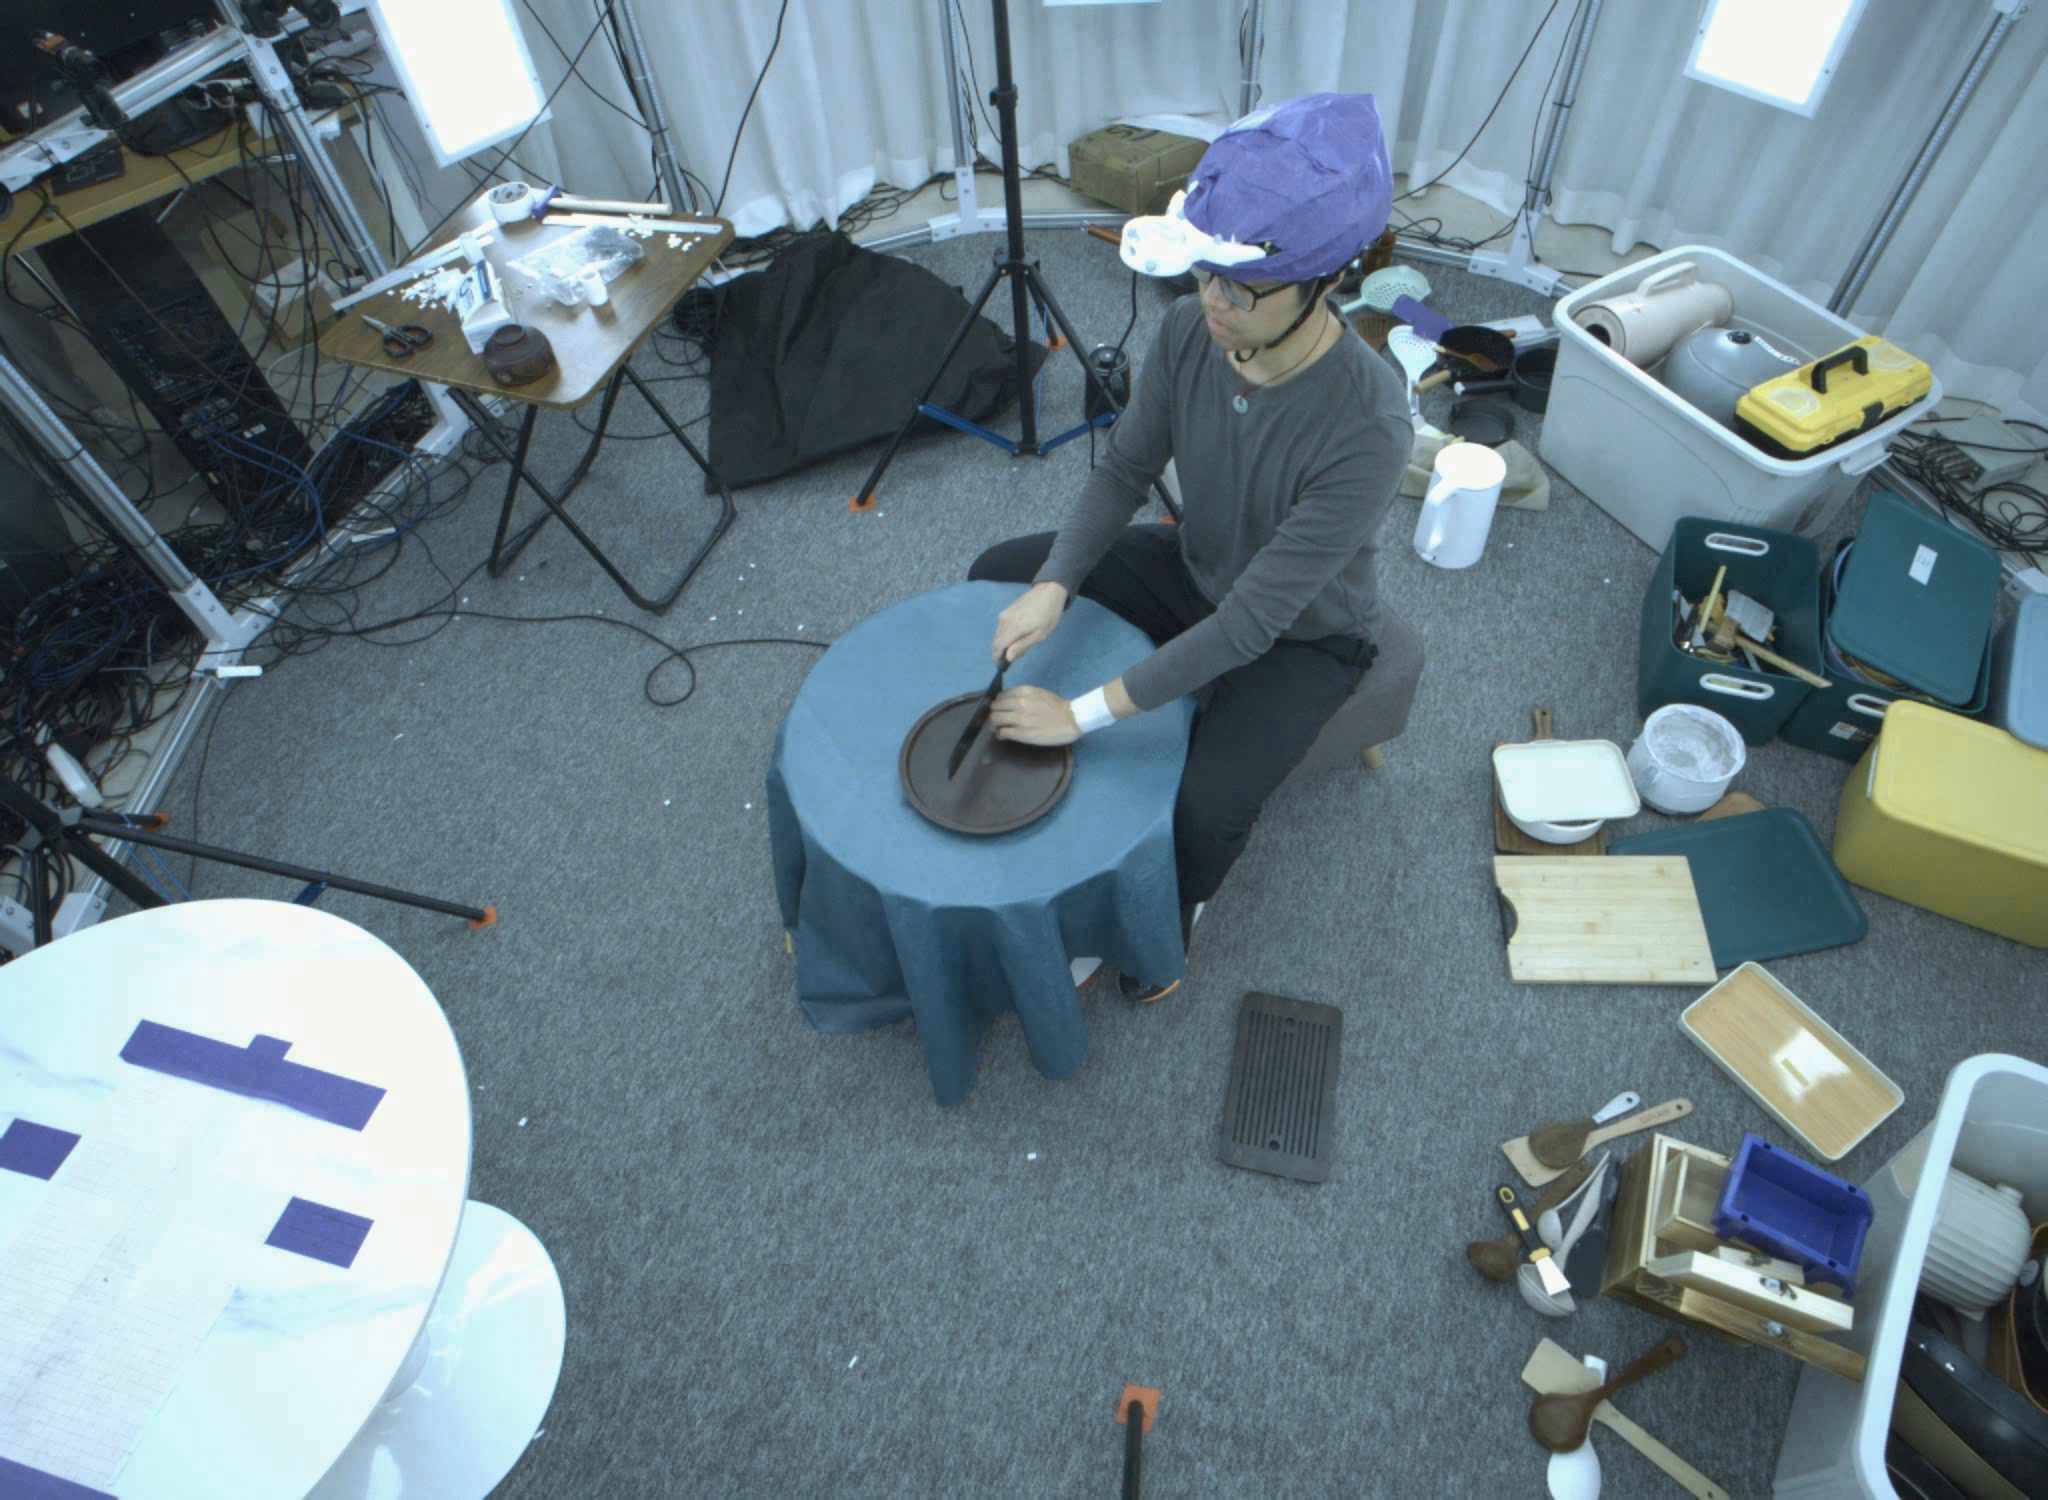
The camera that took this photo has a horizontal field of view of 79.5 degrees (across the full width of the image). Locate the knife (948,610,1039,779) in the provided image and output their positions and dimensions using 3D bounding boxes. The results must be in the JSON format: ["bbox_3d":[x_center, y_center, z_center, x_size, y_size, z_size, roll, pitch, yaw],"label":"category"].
[{"bbox_3d":[-0.044,-0.087,1.761,0.020,0.081,0.302,21,60,11],"label":"knife"}]

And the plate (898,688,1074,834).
[{"bbox_3d":[-0.055,0.015,1.772,0.254,0.029,0.252,-1,54,2],"label":"plate"}]
